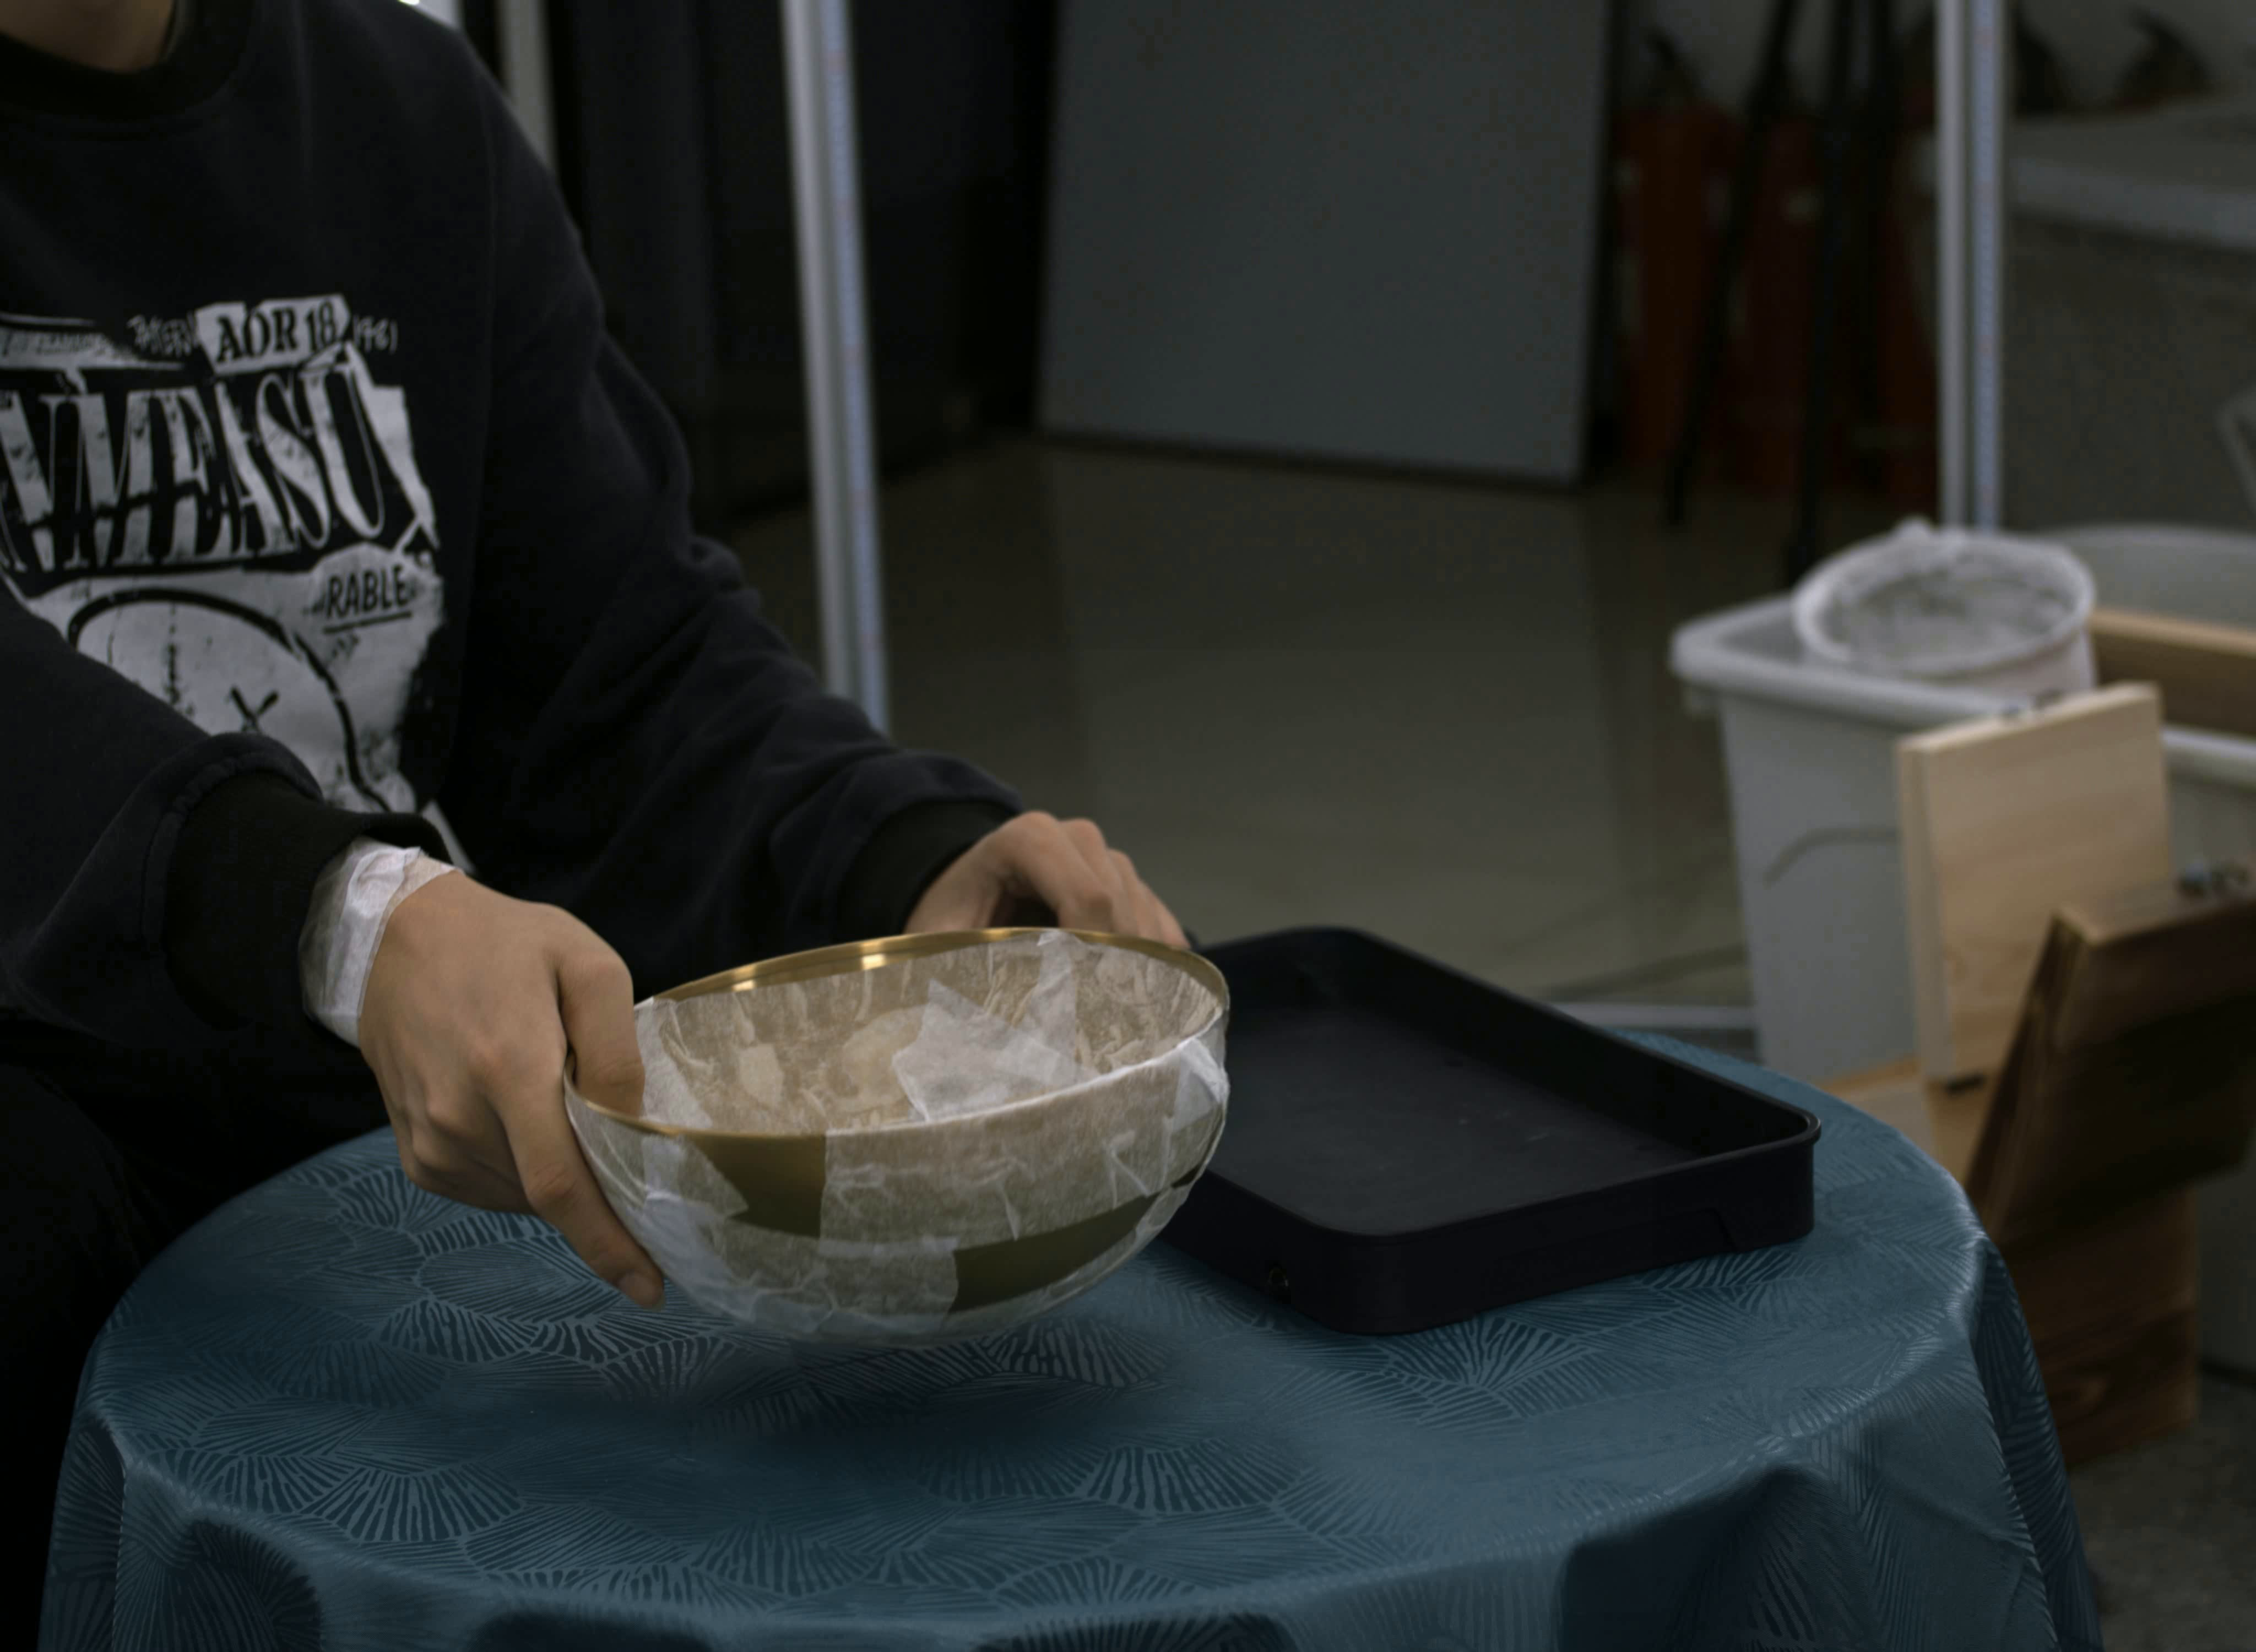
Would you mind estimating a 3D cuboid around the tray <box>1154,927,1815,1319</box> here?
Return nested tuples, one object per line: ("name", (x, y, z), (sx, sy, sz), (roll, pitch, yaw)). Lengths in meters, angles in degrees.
("tray", (0.073, 0.093, 1.776), (0.180, 0.037, 0.321), (-12, 14, -25))

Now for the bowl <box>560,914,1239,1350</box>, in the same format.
("bowl", (-0.063, 0.098, 1.599), (0.212, 0.095, 0.215), (-8, 14, 1))
